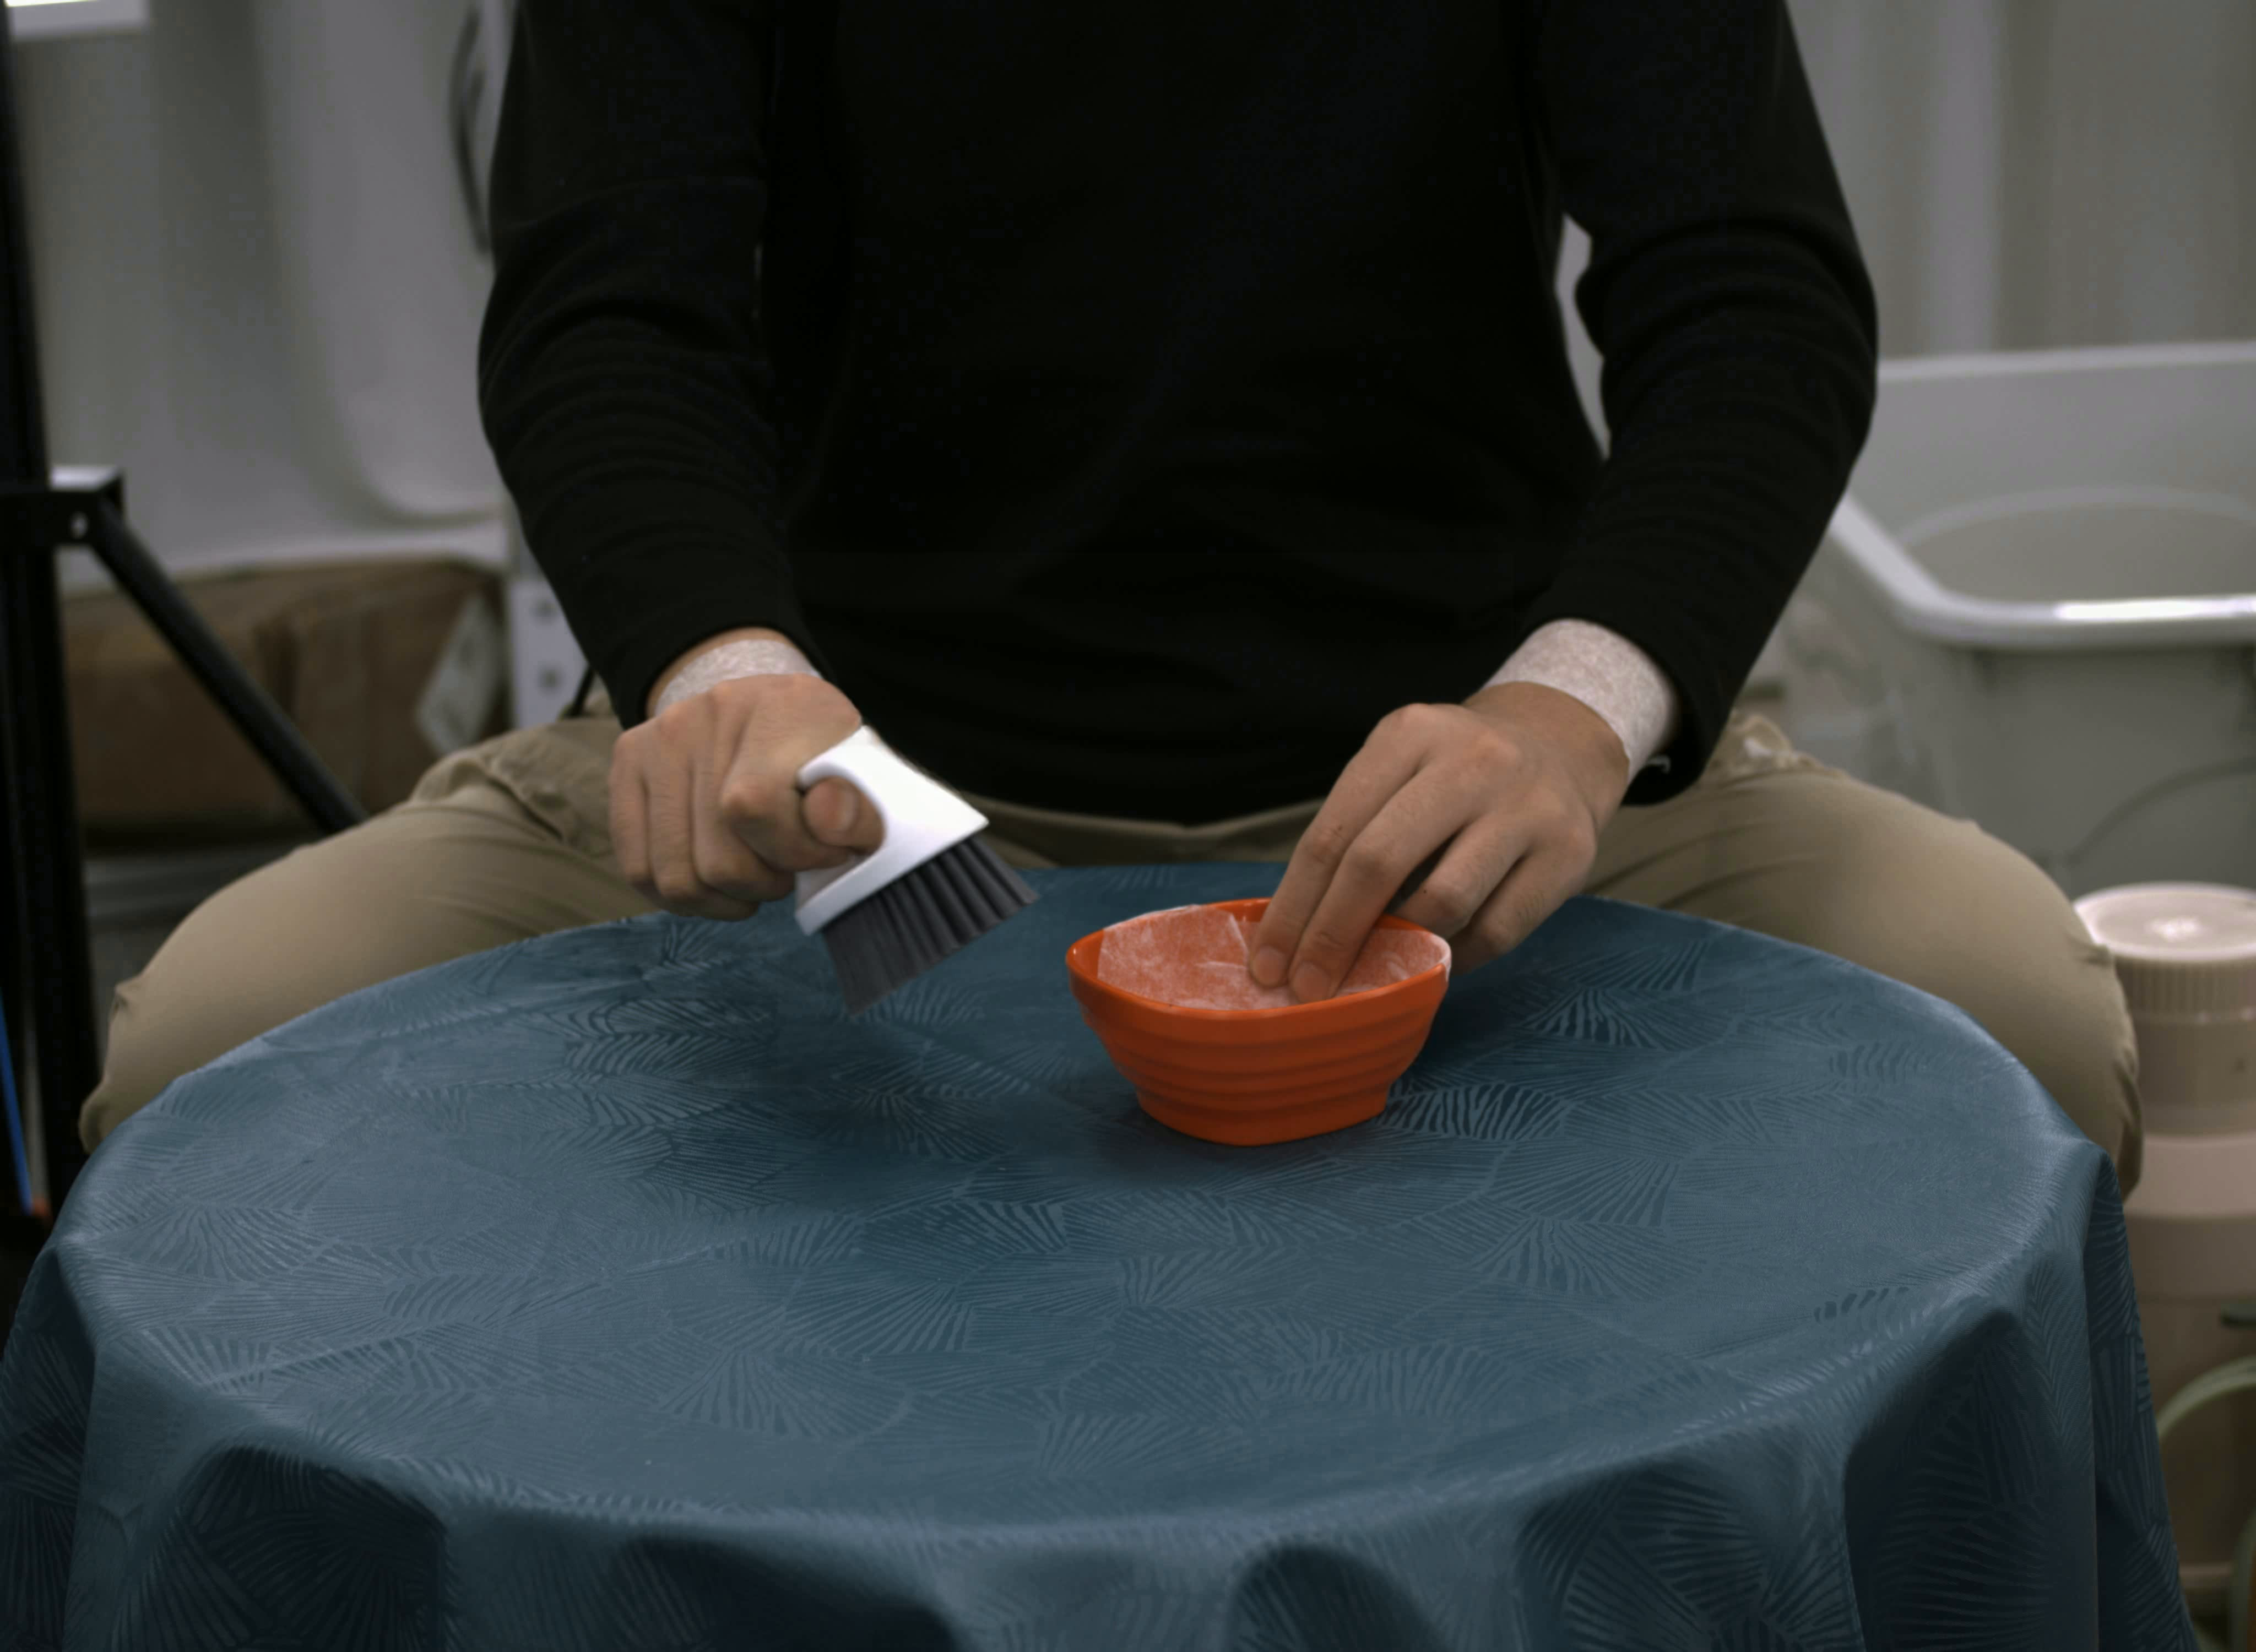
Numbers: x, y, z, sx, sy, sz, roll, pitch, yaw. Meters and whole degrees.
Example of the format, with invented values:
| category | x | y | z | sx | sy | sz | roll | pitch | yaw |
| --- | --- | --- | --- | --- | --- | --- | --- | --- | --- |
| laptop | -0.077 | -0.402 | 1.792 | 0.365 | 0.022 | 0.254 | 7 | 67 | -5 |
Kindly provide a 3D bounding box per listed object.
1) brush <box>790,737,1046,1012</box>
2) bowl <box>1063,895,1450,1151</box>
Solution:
| category | x | y | z | sx | sy | sz | roll | pitch | yaw |
| --- | --- | --- | --- | --- | --- | --- | --- | --- | --- |
| brush | -0.071 | 0.009 | 1.600 | 0.049 | 0.073 | 0.100 | -32 | -1 | -22 |
| bowl | 0.039 | 0.062 | 1.619 | 0.118 | 0.051 | 0.119 | -2 | 17 | -1 |
